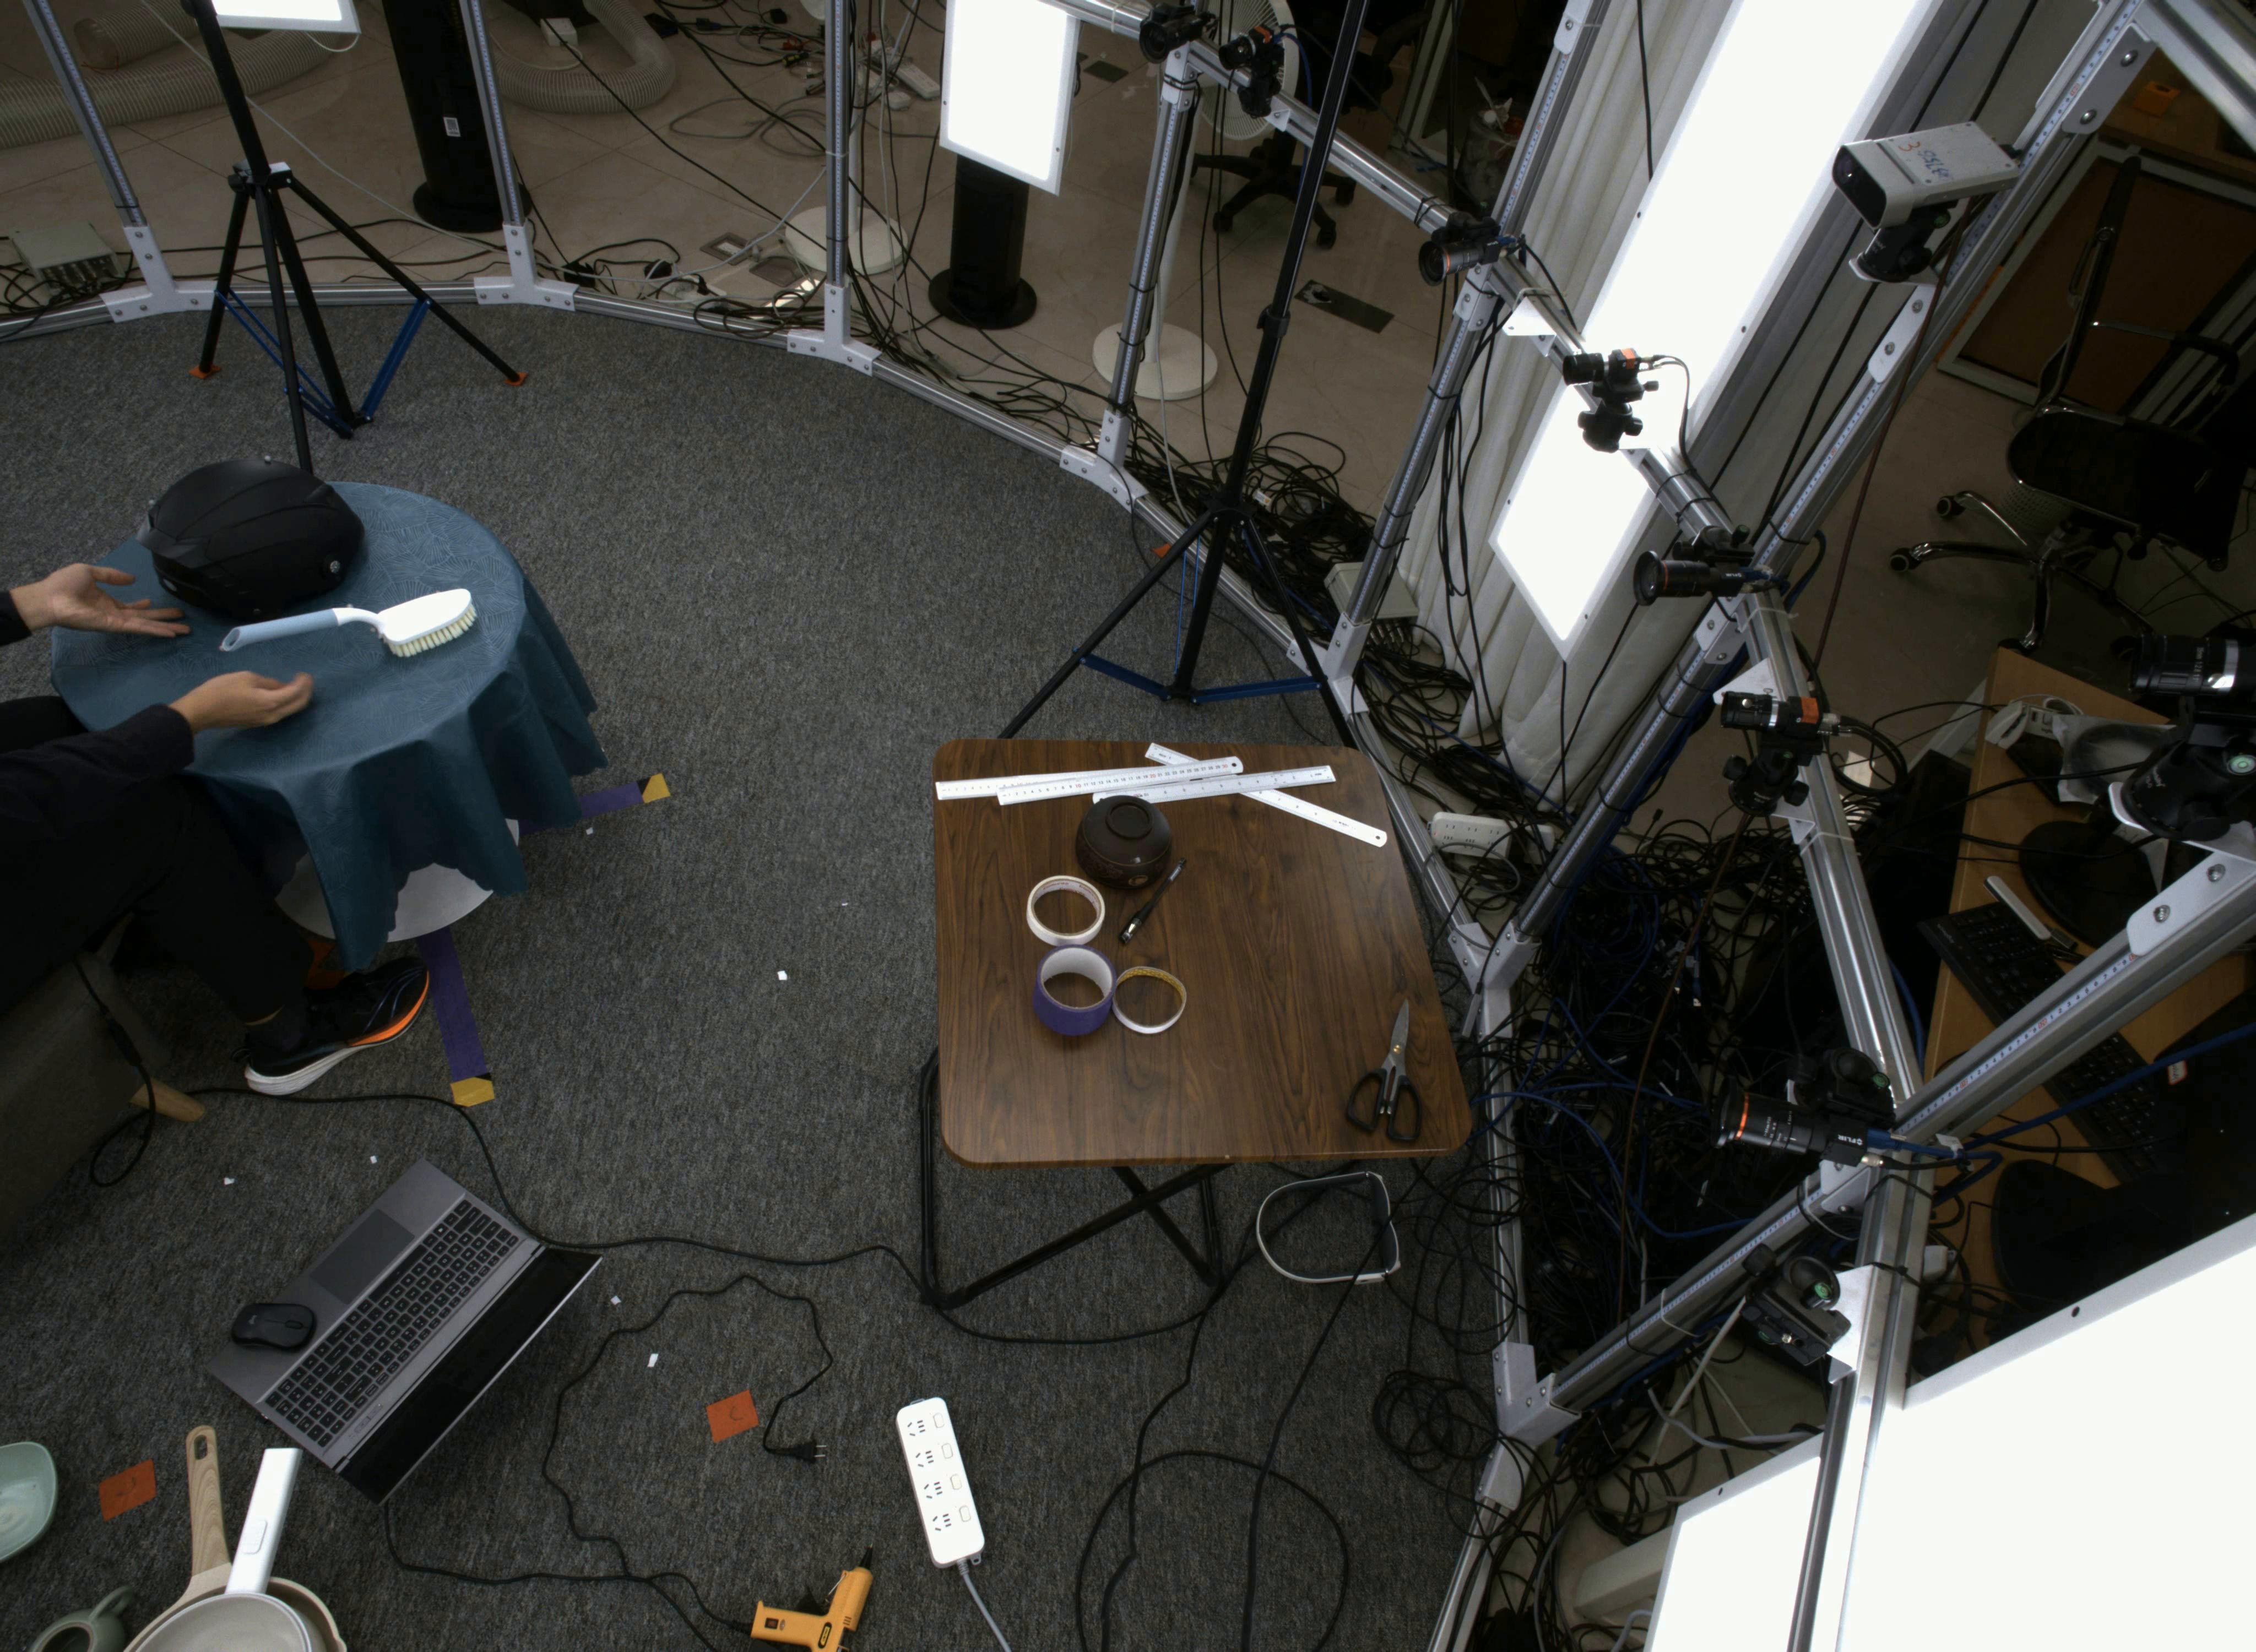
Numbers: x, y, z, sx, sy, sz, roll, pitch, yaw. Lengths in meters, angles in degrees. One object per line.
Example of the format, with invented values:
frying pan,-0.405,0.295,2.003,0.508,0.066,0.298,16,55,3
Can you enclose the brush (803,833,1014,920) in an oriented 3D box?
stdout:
brush,-0.330,0.087,1.952,0.328,0.084,0.082,13,-15,-17

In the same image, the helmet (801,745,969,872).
helmet,-0.397,-0.044,2.131,0.280,0.177,0.237,-5,27,-30
